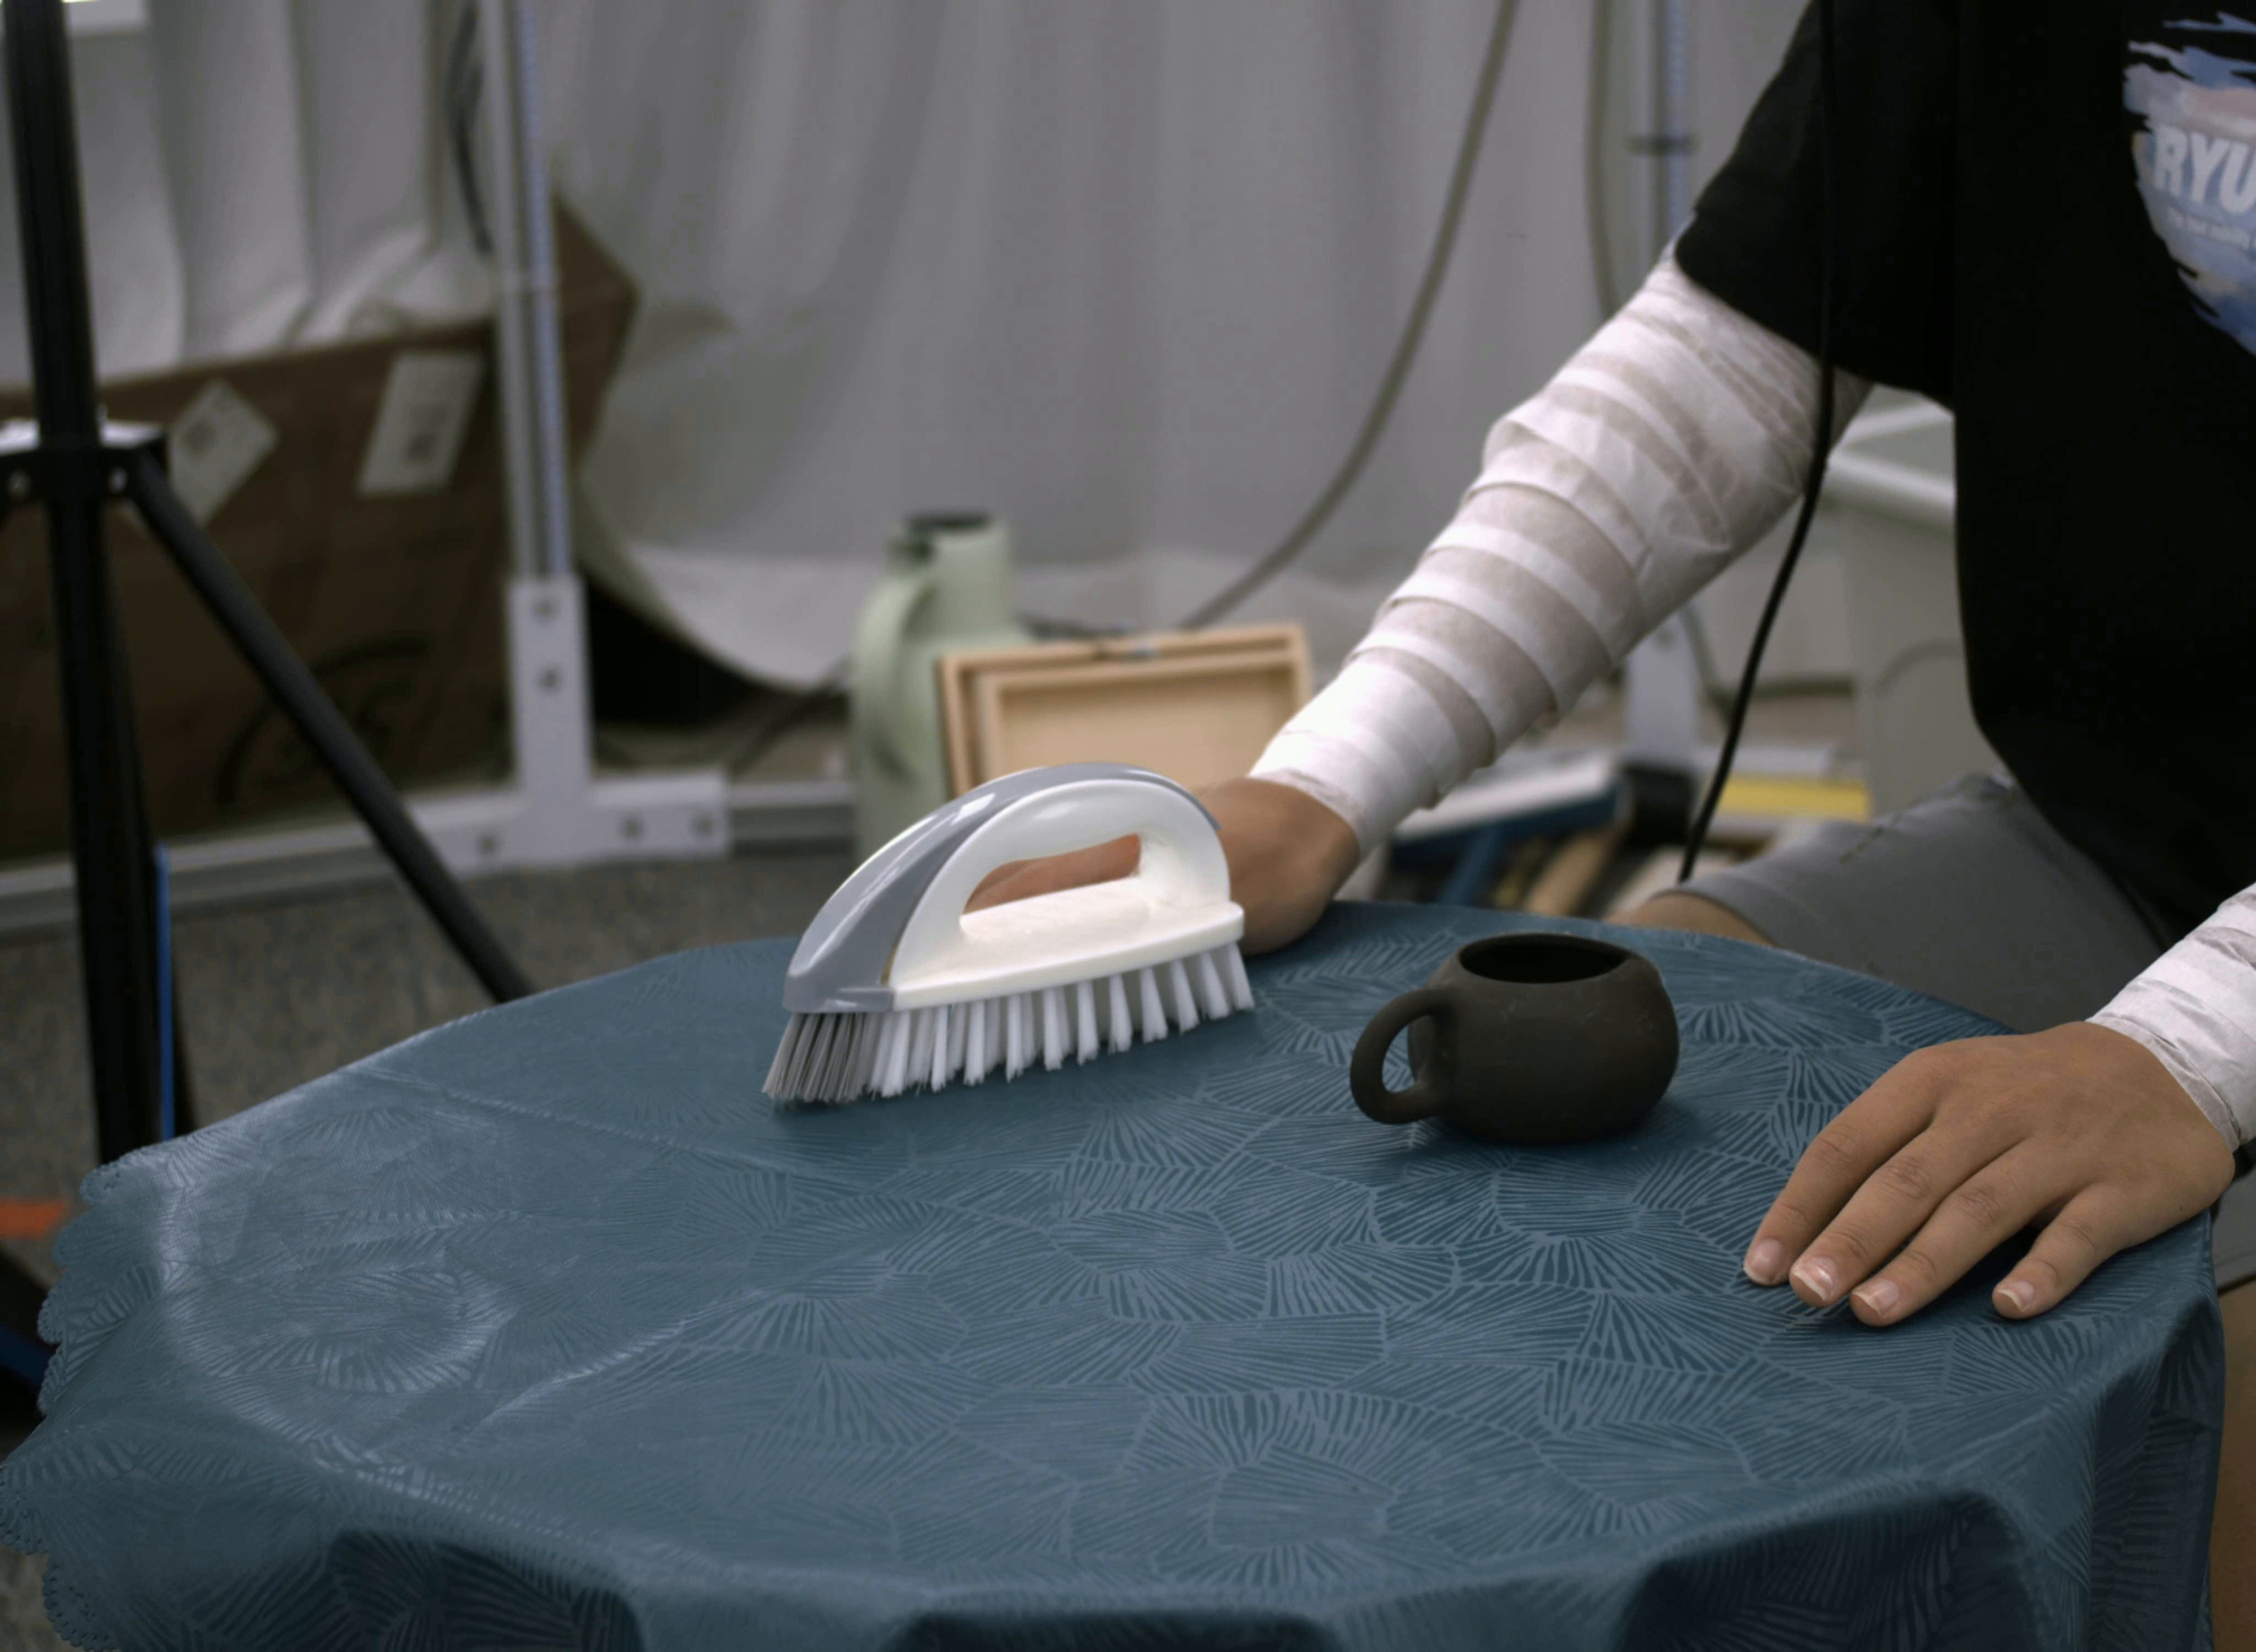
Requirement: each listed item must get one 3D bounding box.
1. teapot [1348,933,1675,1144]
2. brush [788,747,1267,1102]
[{"bbox_3d":[0.114,0.066,1.599,0.111,0.053,0.085,-8,17,-29],"label":"teapot"},{"bbox_3d":[-0.038,0.029,1.678,0.171,0.094,0.063,-14,16,-33],"label":"brush"}]
